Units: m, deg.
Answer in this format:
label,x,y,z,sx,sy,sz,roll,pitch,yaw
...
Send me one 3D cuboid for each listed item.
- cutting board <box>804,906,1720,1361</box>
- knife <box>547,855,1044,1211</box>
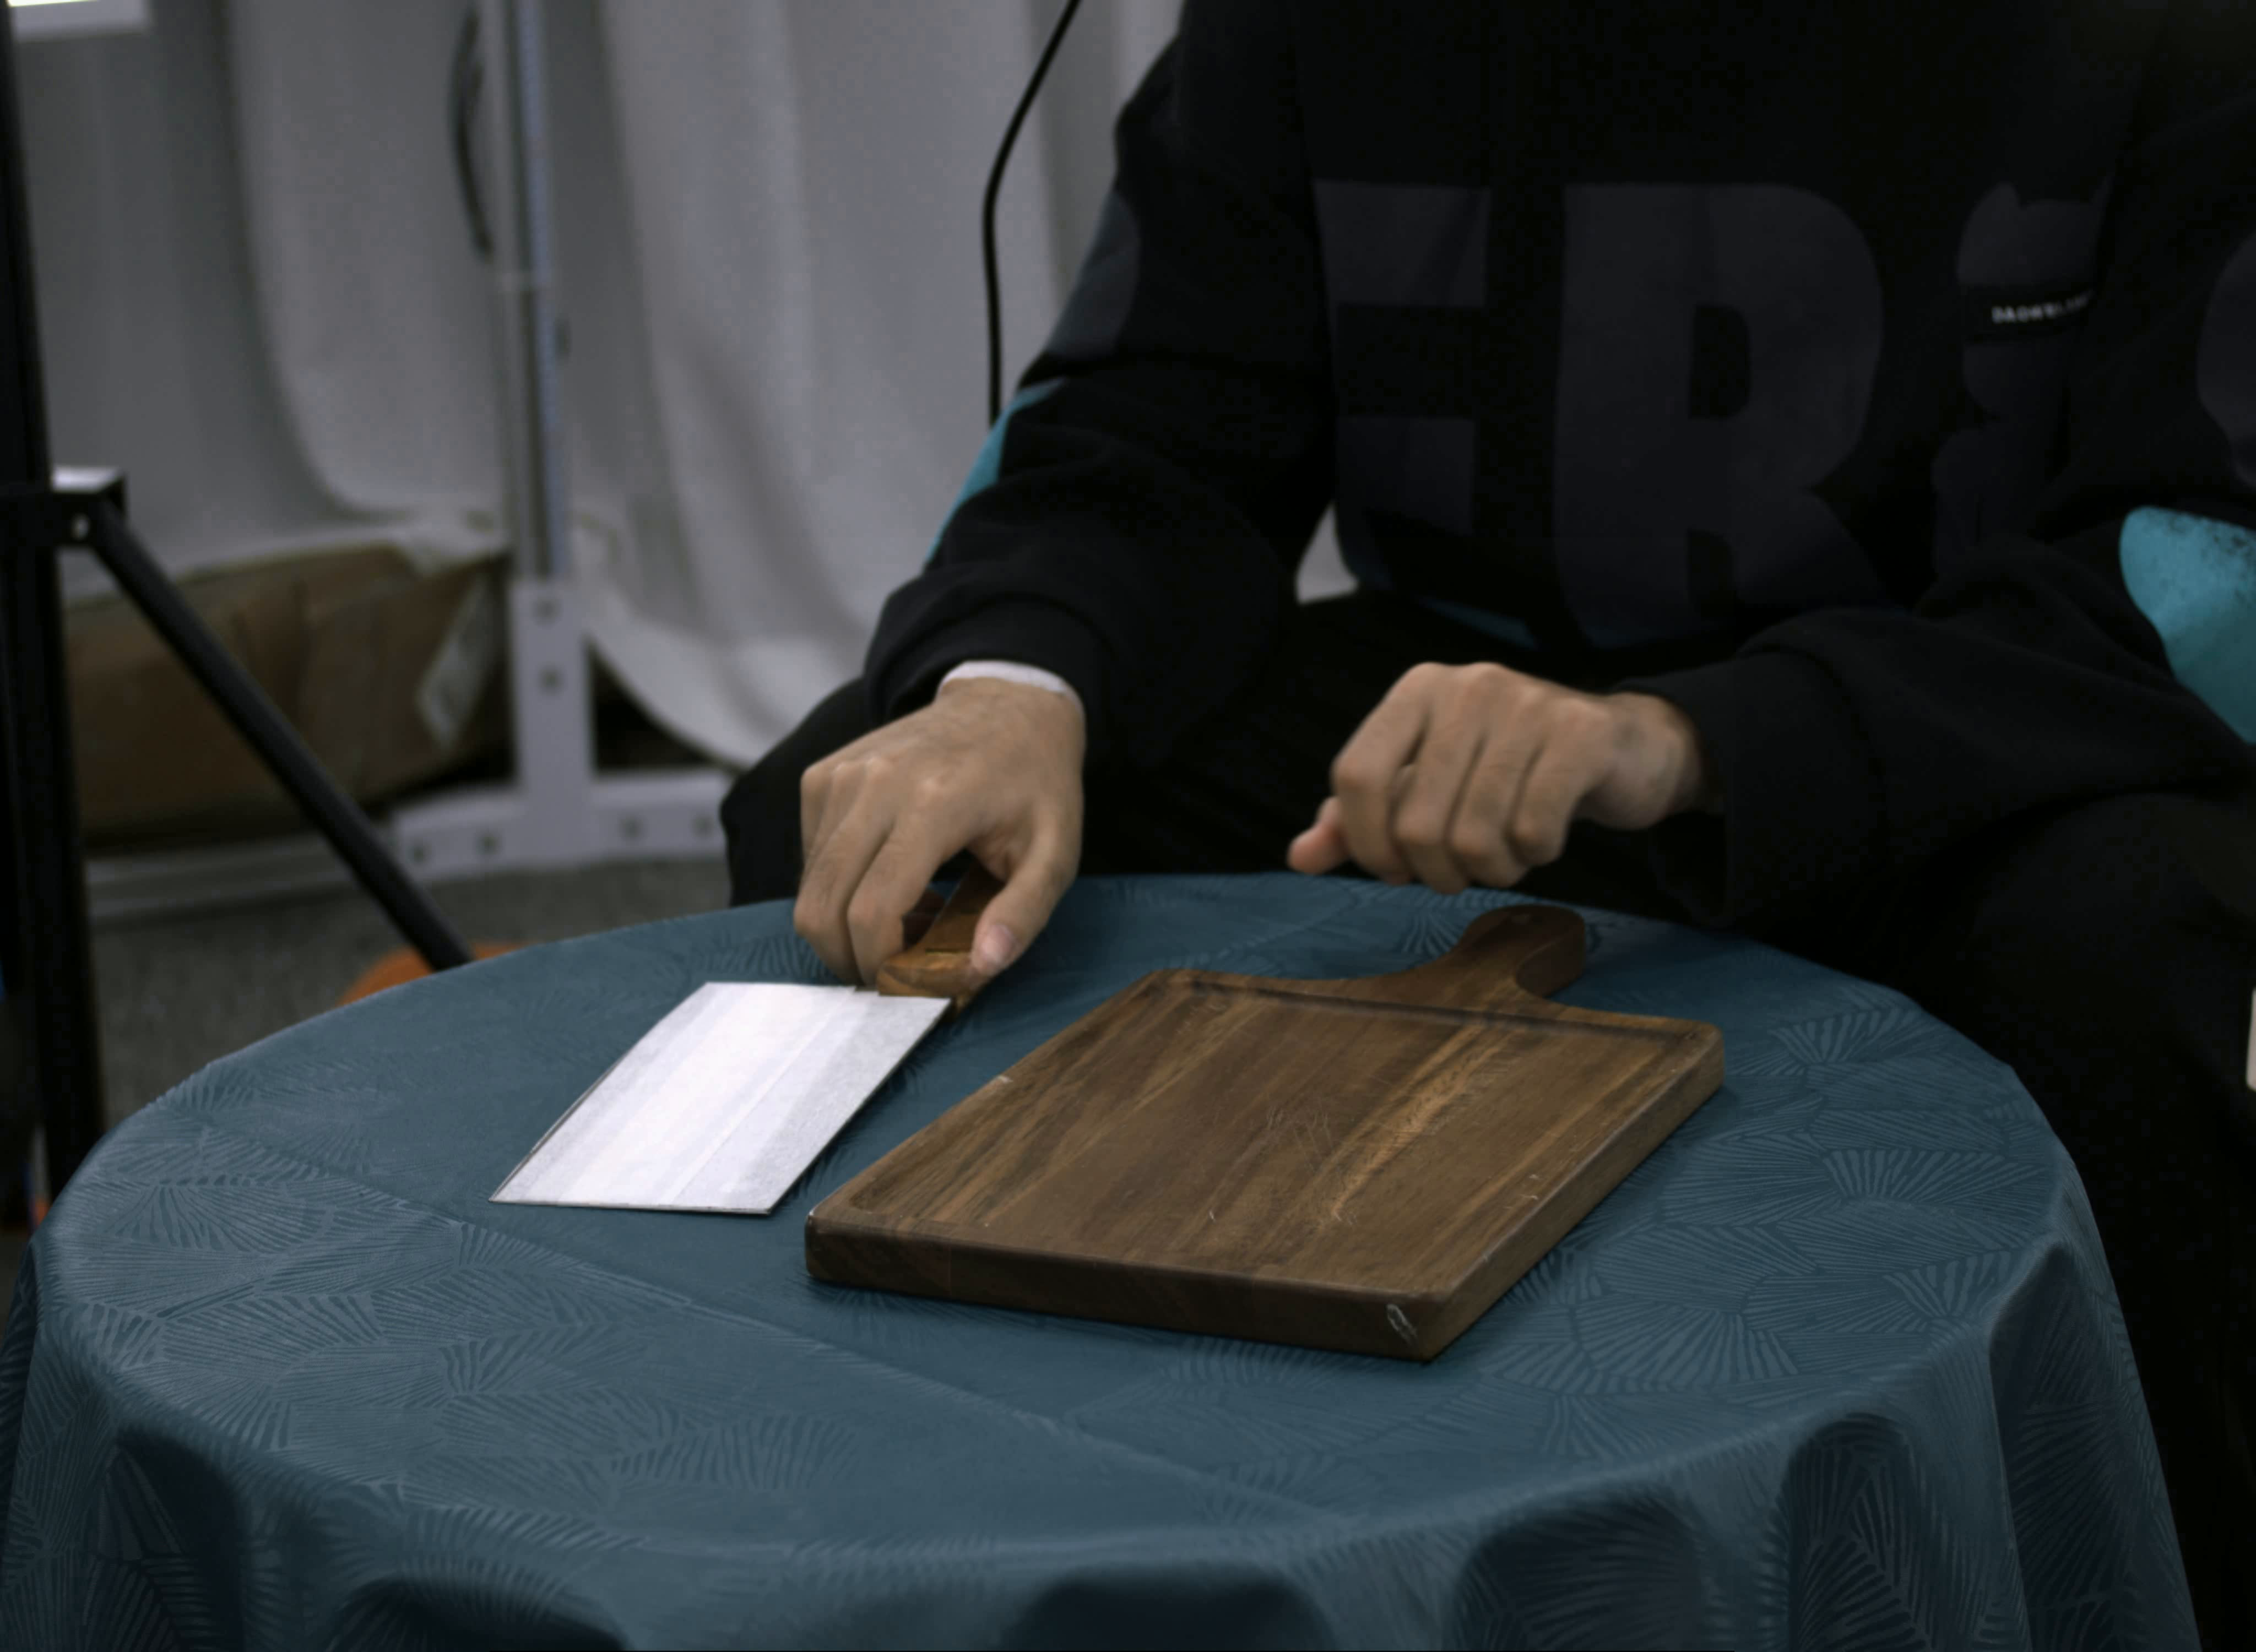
label,x,y,z,sx,sy,sz,roll,pitch,yaw
cutting board,0.065,0.082,1.600,0.204,0.023,0.347,5,17,24
knife,-0.105,0.065,1.701,0.094,0.021,0.303,0,18,17
